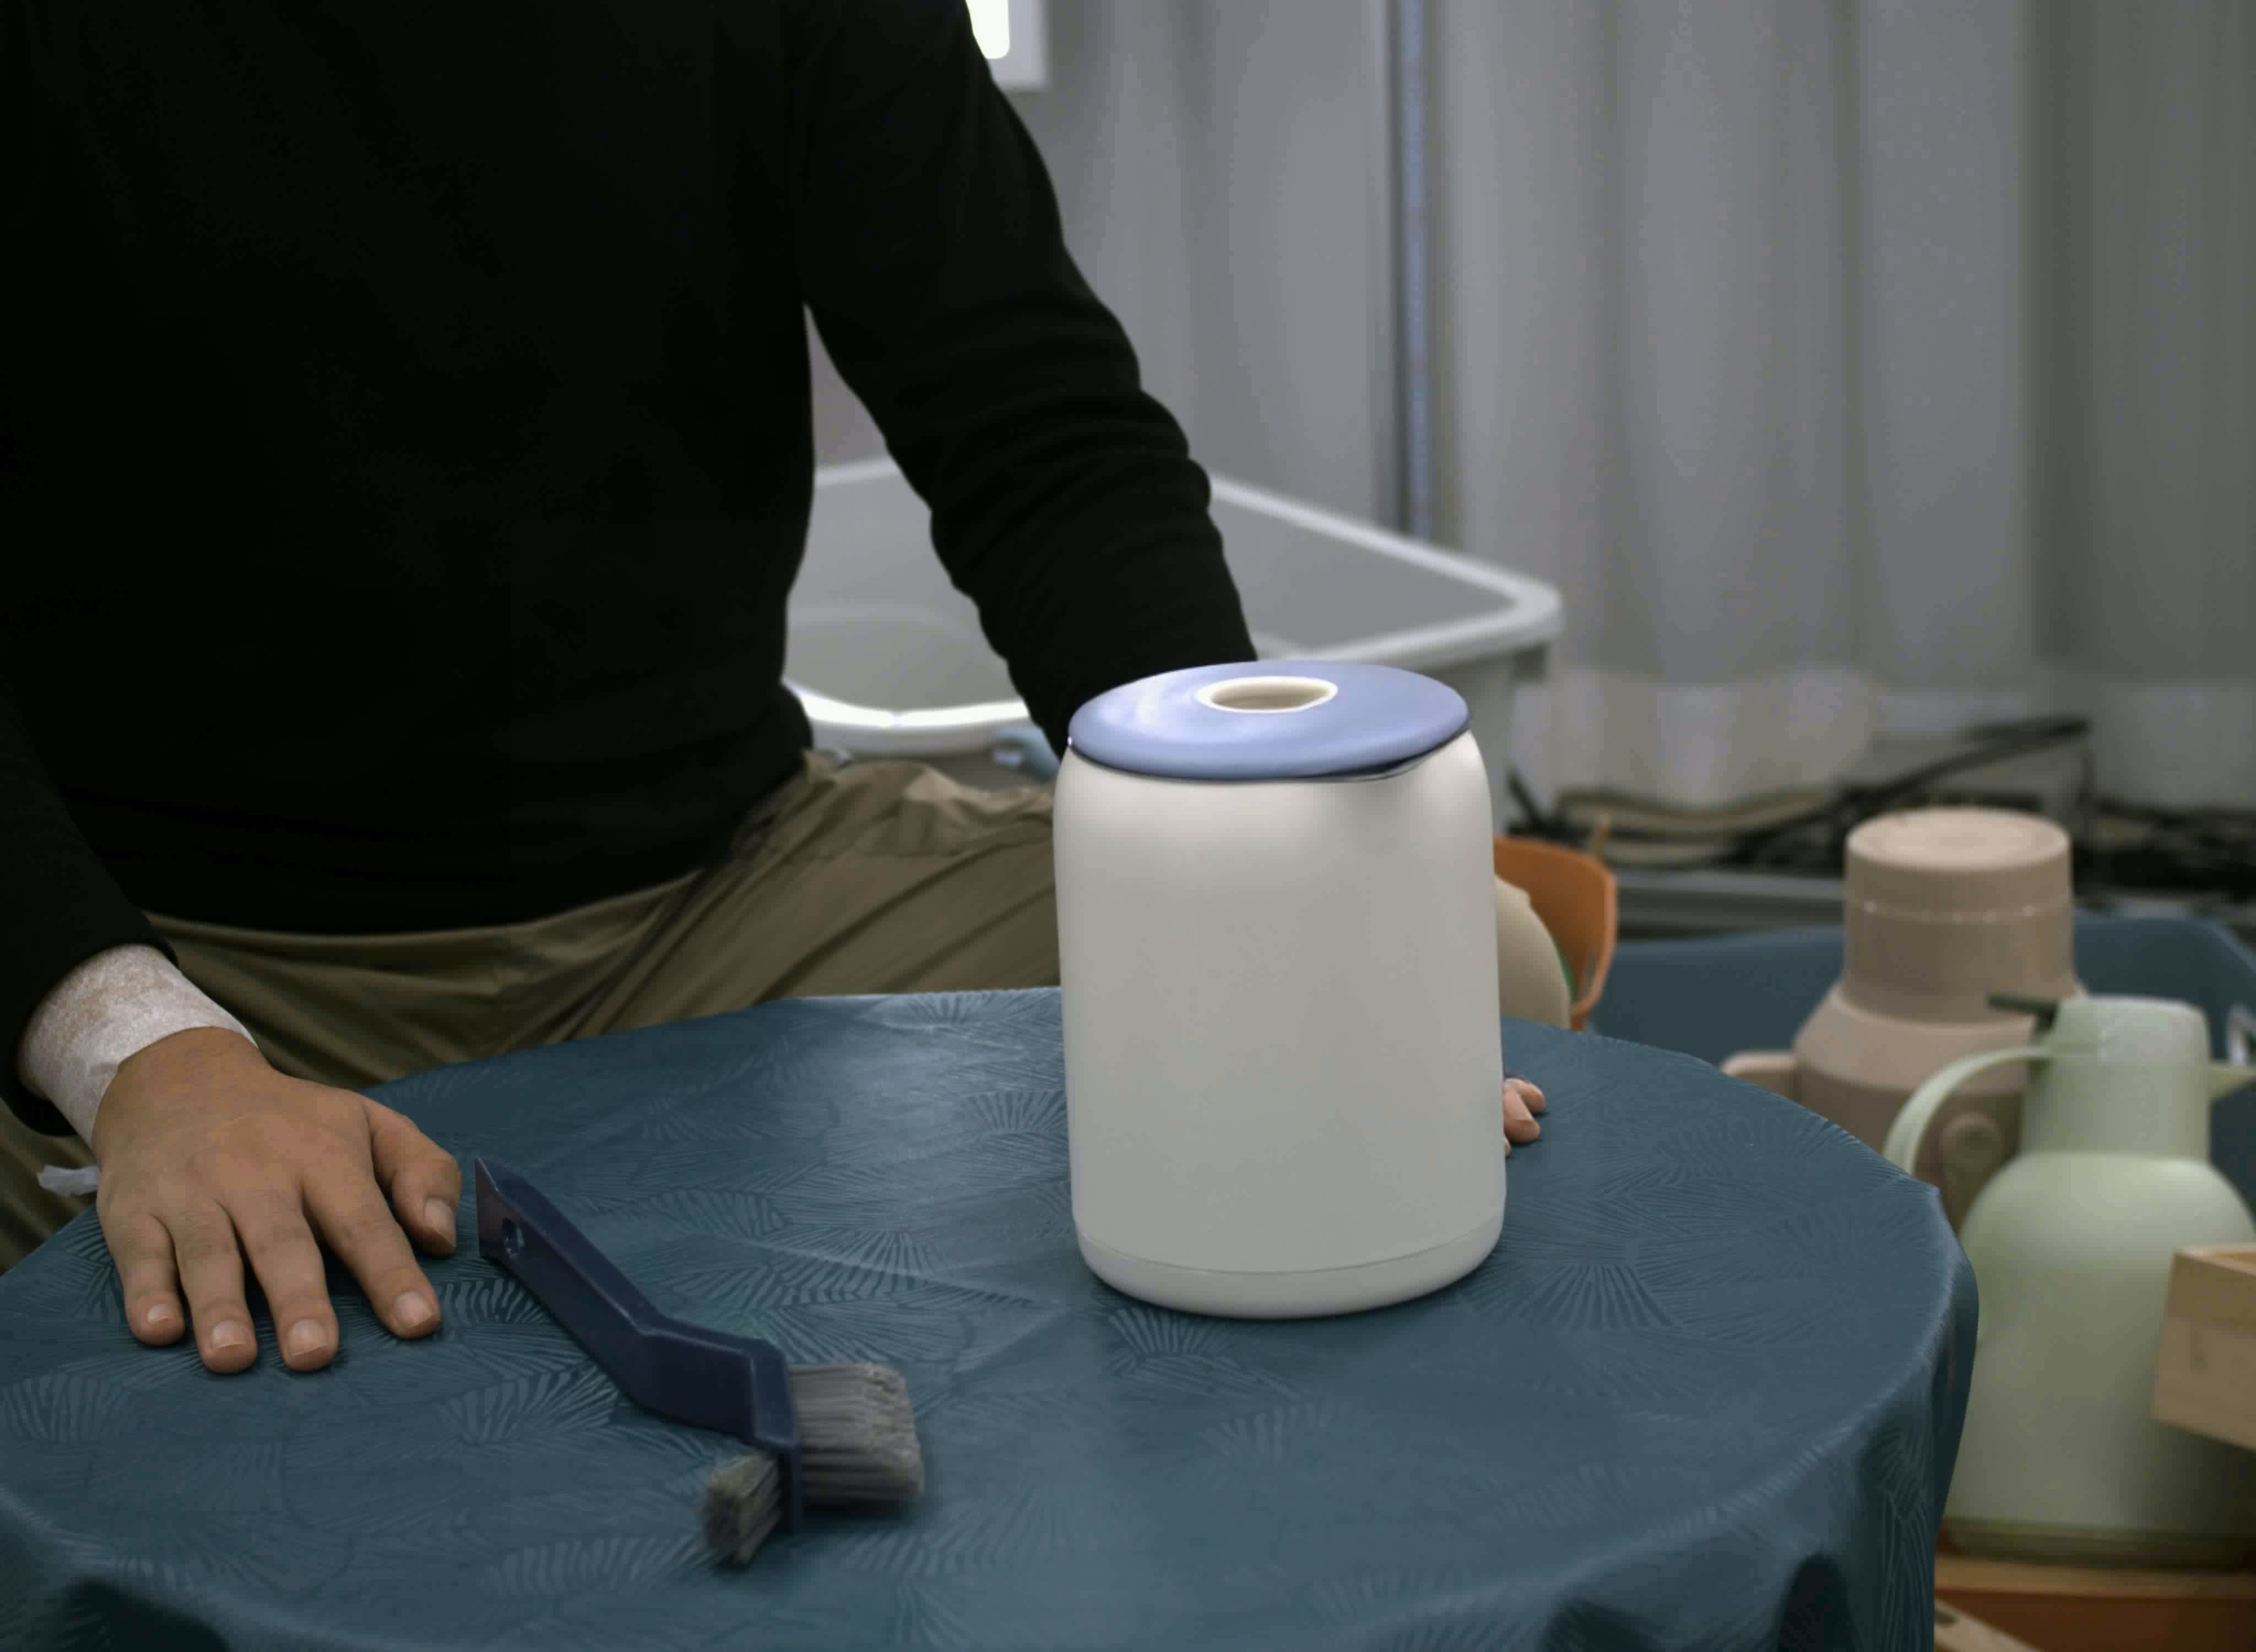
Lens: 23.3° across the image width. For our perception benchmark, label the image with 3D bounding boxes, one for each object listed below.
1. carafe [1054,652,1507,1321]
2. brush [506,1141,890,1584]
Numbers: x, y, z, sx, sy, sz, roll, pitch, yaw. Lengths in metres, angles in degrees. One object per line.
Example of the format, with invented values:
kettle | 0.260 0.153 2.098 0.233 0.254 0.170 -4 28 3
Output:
carafe | 0.033 0.042 1.650 0.131 0.182 0.192 -10 15 -28
brush | -0.145 0.148 1.559 0.095 0.033 0.275 -14 19 -28
